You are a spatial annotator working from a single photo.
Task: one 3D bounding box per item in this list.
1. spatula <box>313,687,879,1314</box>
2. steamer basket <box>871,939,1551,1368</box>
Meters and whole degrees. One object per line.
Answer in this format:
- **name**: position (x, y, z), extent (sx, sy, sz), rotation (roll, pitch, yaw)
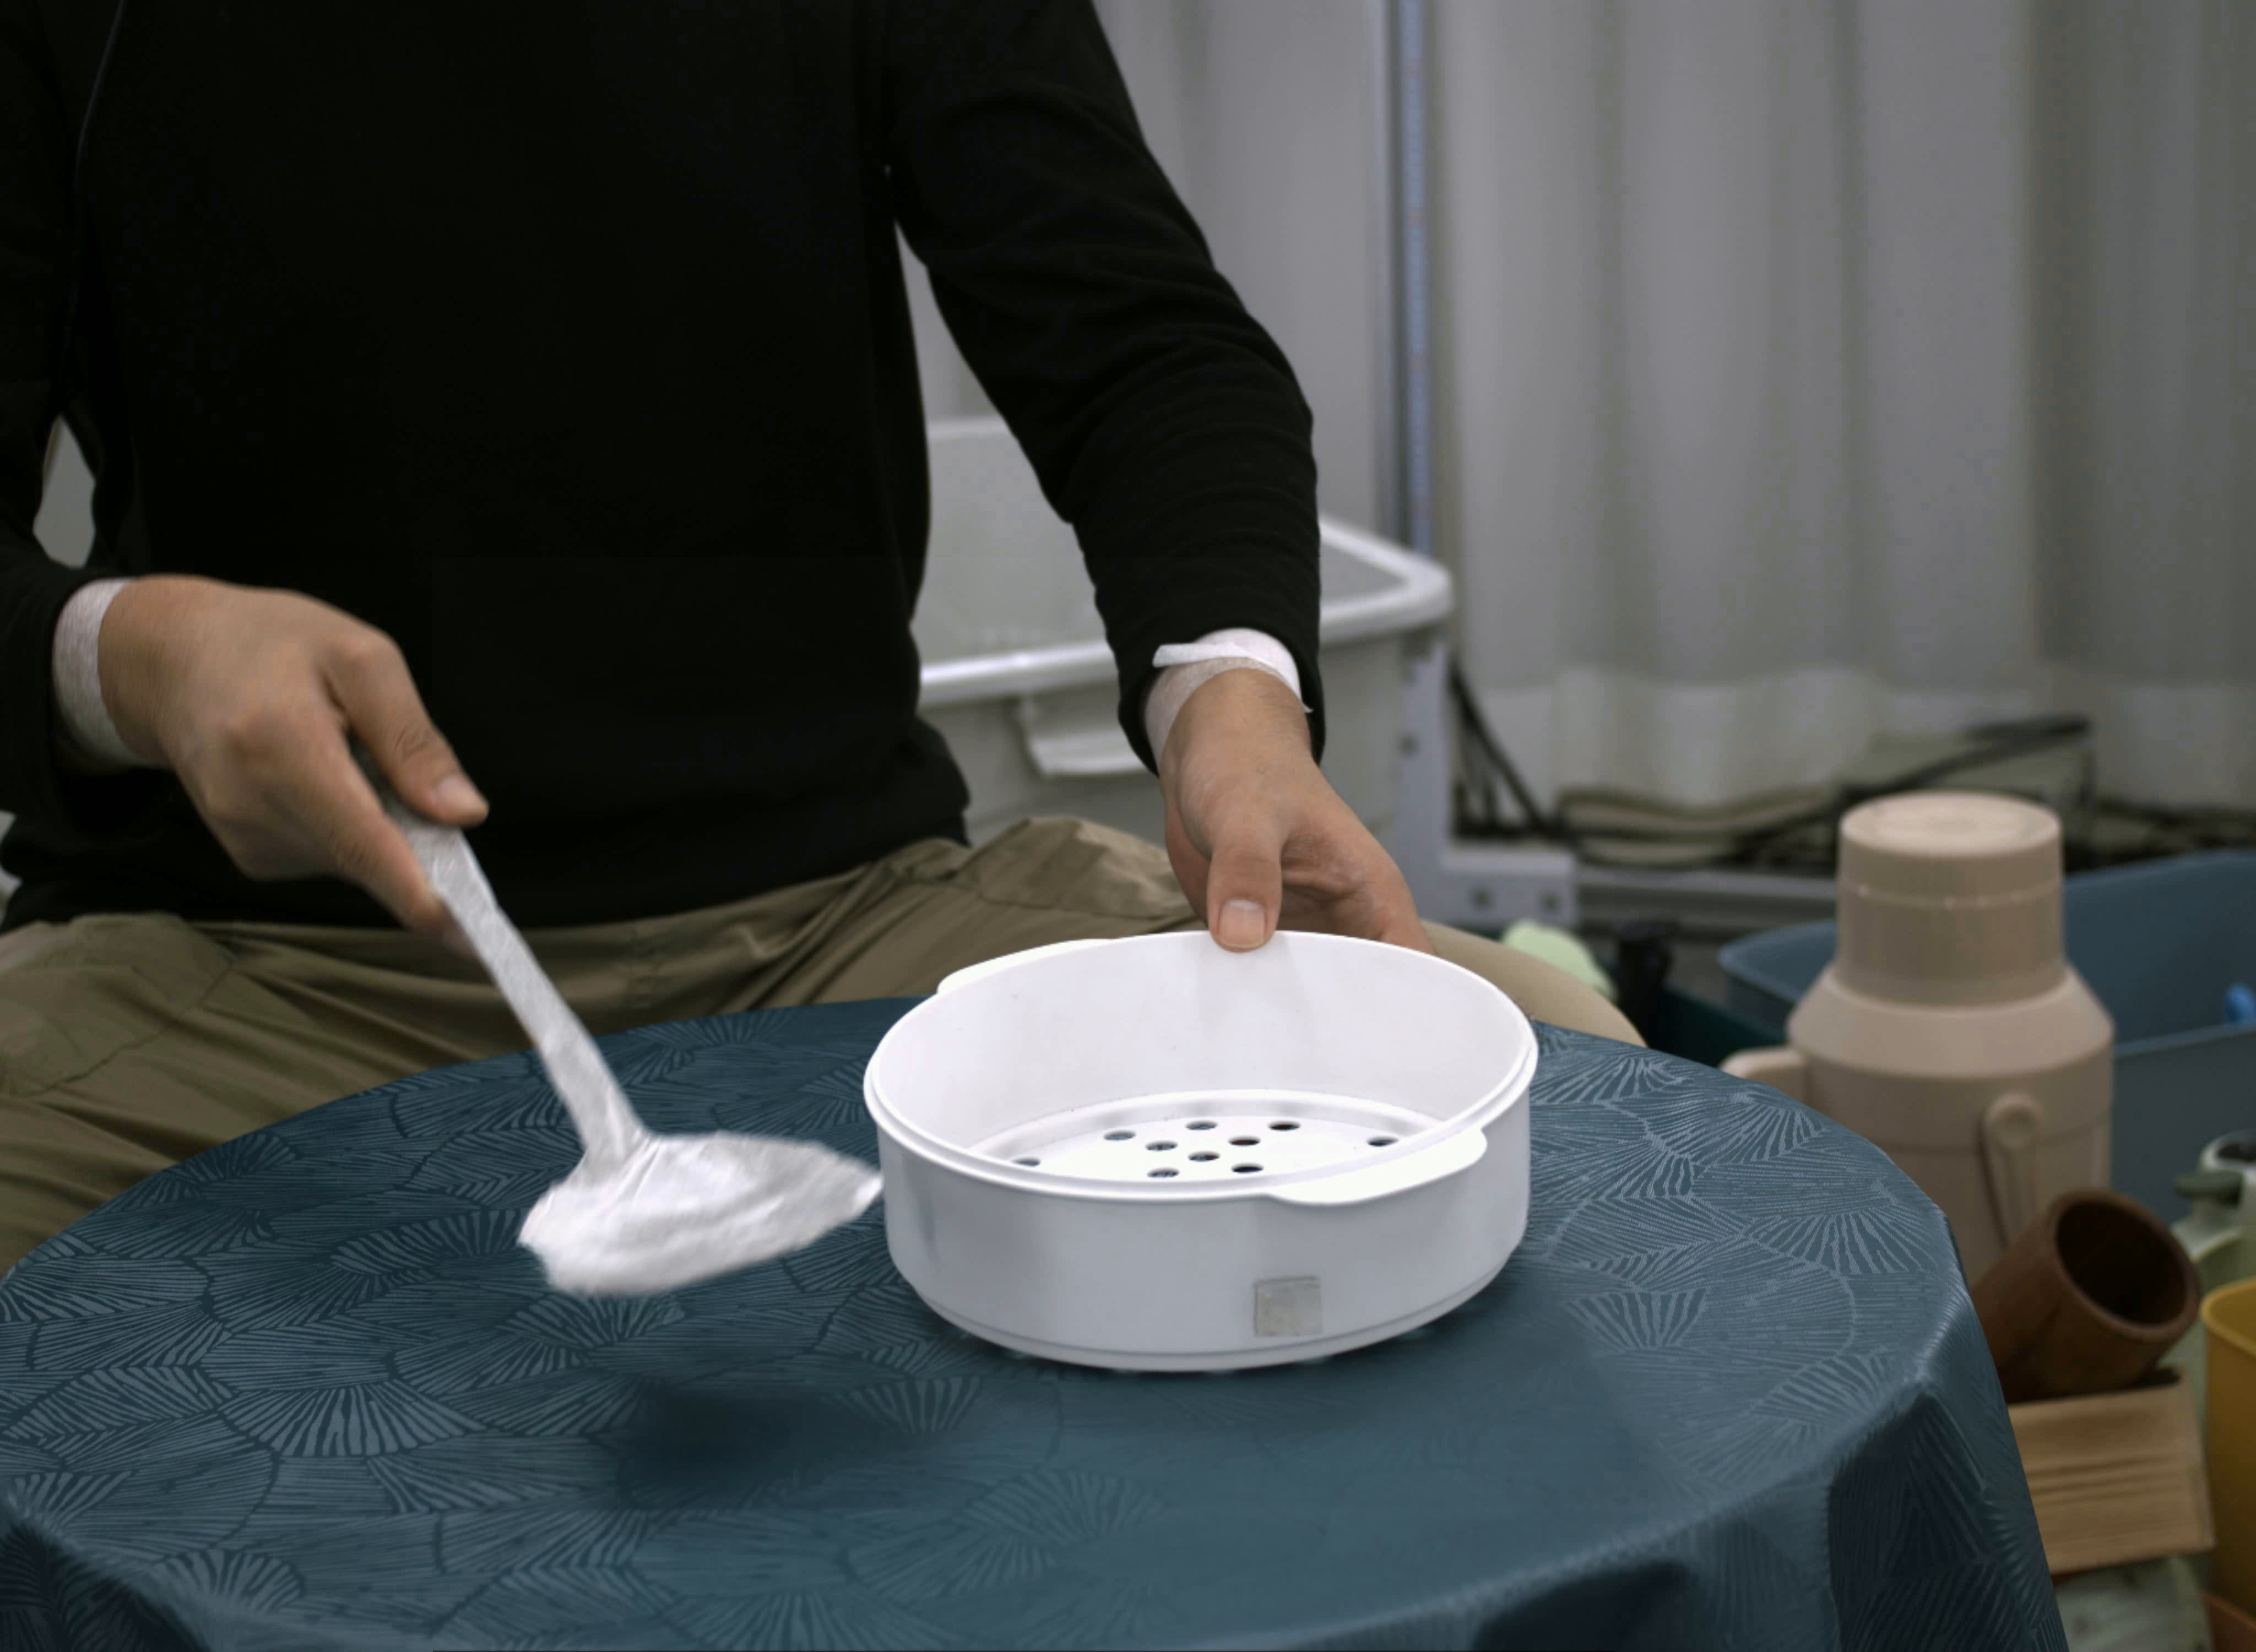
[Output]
- **spatula**: position (-0.182, 0.040, 1.626), extent (0.098, 0.044, 0.370), rotation (-19, 40, -18)
- **steamer basket**: position (0.026, 0.097, 1.623), extent (0.201, 0.069, 0.232), rotation (-13, 21, -28)
